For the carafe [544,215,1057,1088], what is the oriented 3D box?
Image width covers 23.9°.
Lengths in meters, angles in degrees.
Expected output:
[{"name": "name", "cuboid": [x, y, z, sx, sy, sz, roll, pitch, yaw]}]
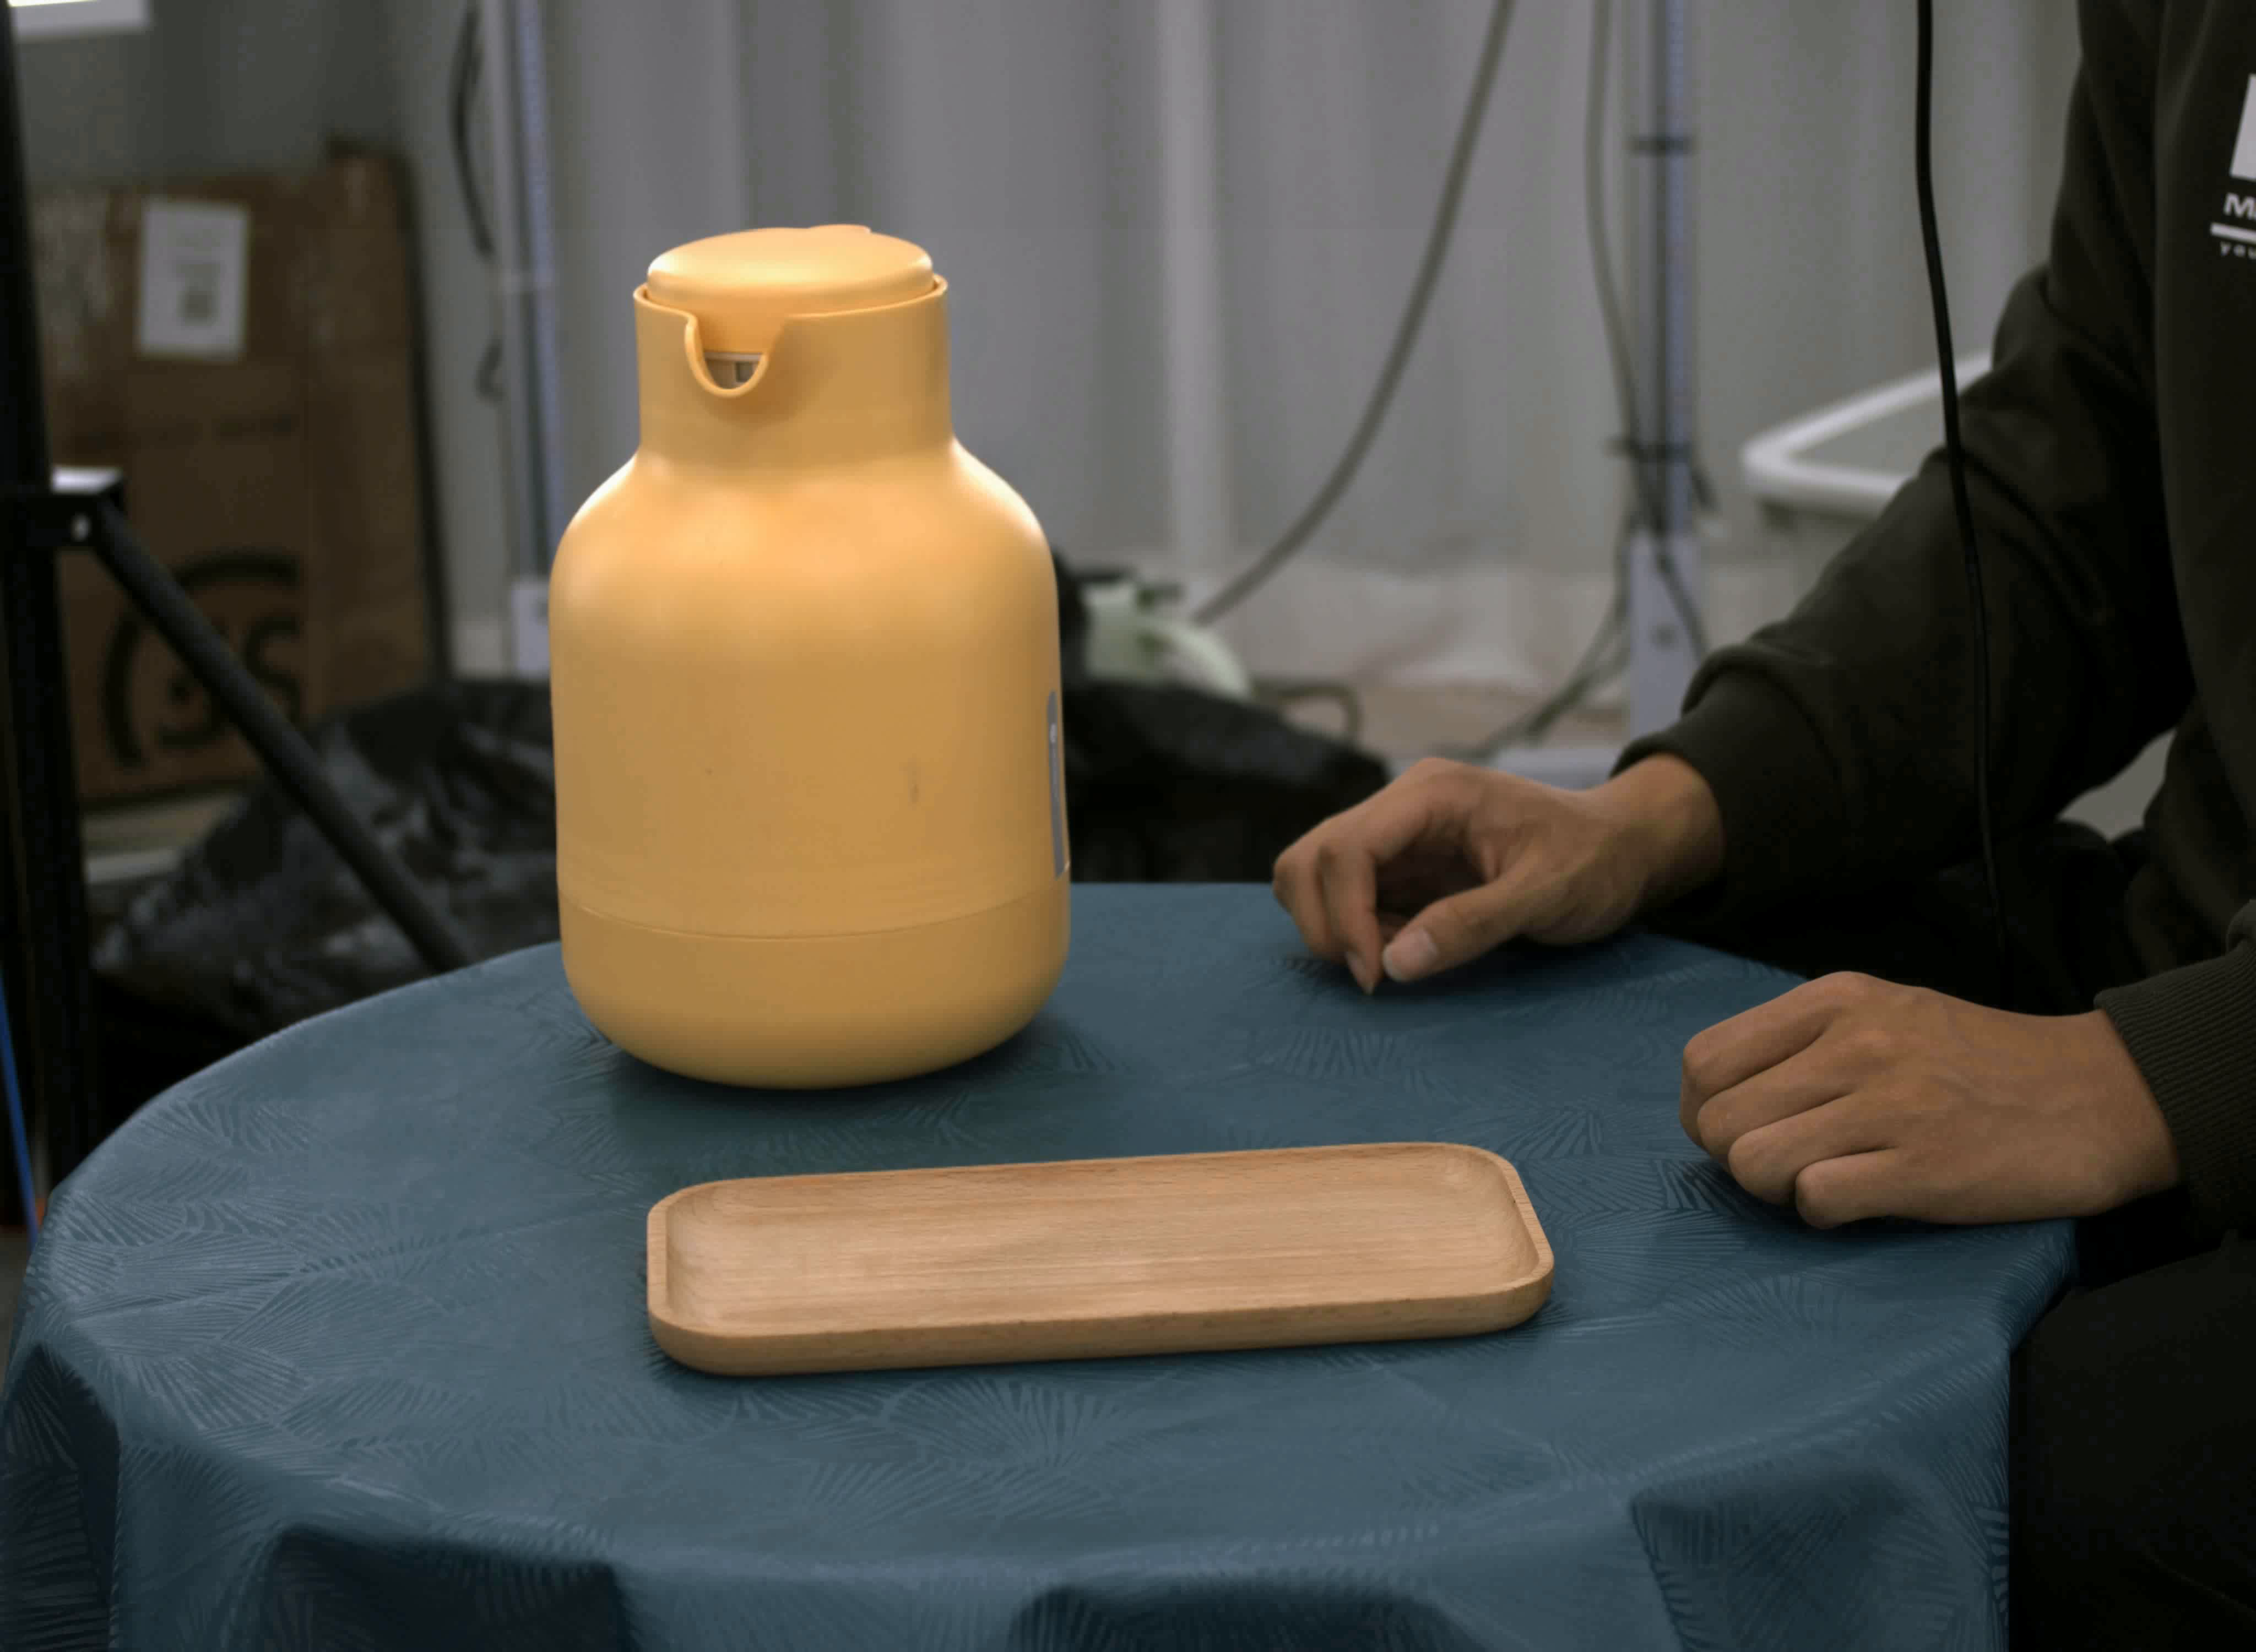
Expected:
[{"name": "carafe", "cuboid": [-0.098, -0.063, 1.699, 0.165, 0.260, 0.201, 5, 18, 14]}]

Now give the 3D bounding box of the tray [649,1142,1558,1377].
[{"name": "tray", "cuboid": [-0.008, 0.121, 1.486, 0.249, 0.023, 0.131, -2, 18, -1]}]
